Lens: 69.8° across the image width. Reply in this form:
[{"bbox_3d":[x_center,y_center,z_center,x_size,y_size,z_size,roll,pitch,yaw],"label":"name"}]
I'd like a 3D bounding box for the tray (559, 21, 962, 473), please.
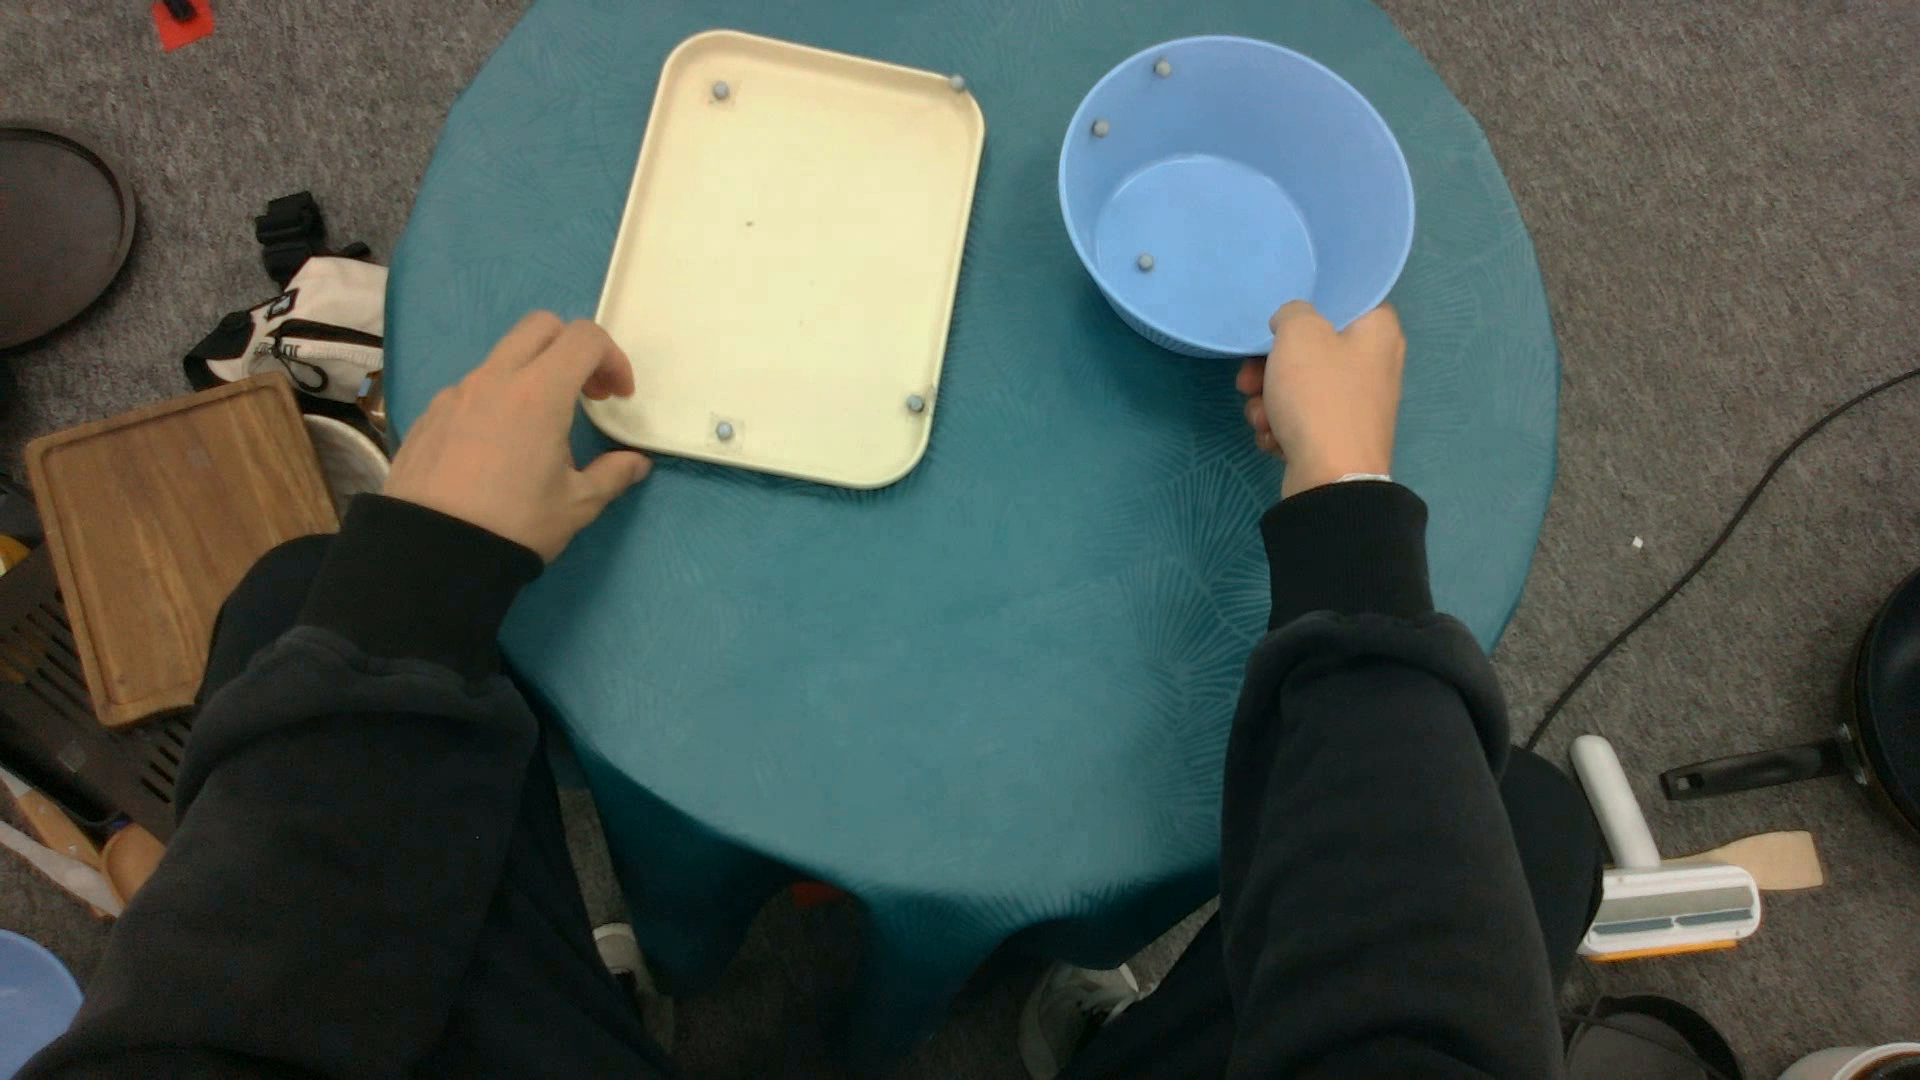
[{"bbox_3d":[-0.096,-0.151,0.698,0.171,0.017,0.240,10,70,-3],"label":"tray"}]

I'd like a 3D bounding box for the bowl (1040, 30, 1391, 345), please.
[{"bbox_3d":[0.122,-0.167,0.701,0.176,0.070,0.176,2,70,-6],"label":"bowl"}]
